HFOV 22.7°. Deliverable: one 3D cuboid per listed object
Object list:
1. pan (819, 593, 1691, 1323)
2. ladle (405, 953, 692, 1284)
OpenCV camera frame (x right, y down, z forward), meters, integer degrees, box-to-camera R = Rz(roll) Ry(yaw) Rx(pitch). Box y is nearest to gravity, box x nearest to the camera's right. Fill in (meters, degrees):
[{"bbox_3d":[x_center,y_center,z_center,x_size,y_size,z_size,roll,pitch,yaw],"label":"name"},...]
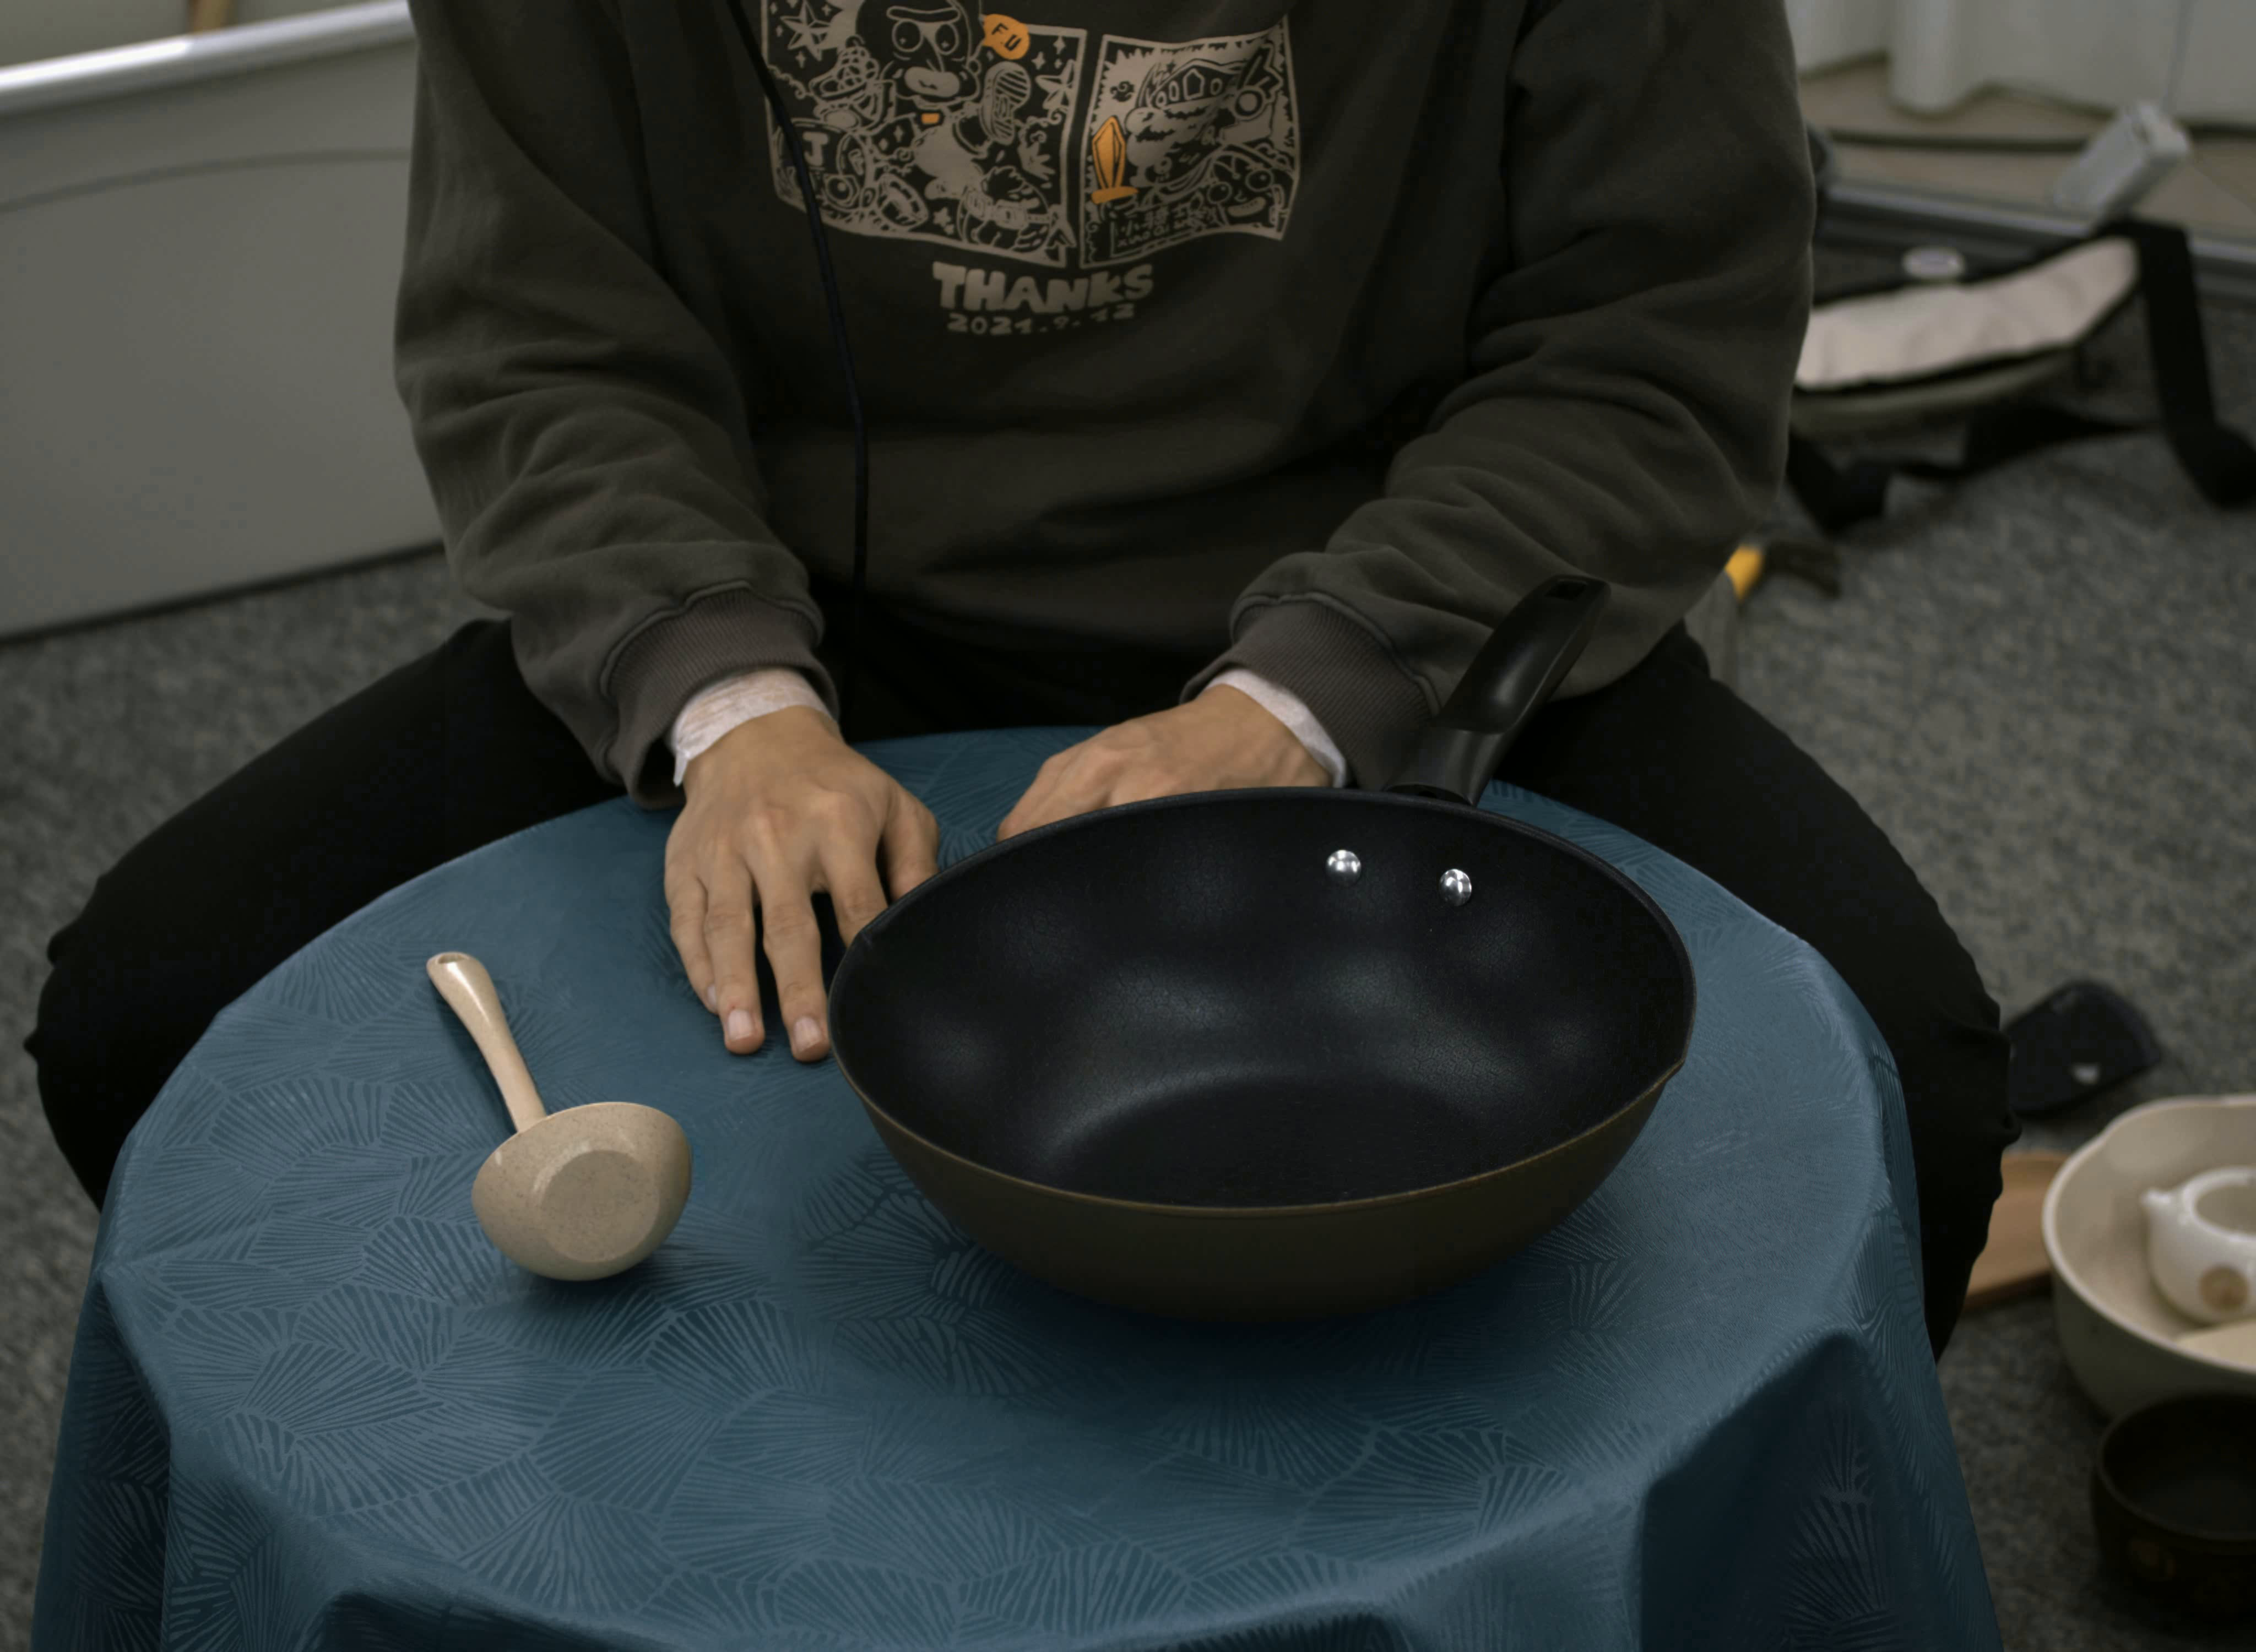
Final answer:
[{"bbox_3d":[0.078,0.045,1.910,0.286,0.086,0.471,9,29,21],"label":"pan"},{"bbox_3d":[-0.212,0.072,1.899,0.072,0.072,0.256,-17,31,-15],"label":"ladle"}]
